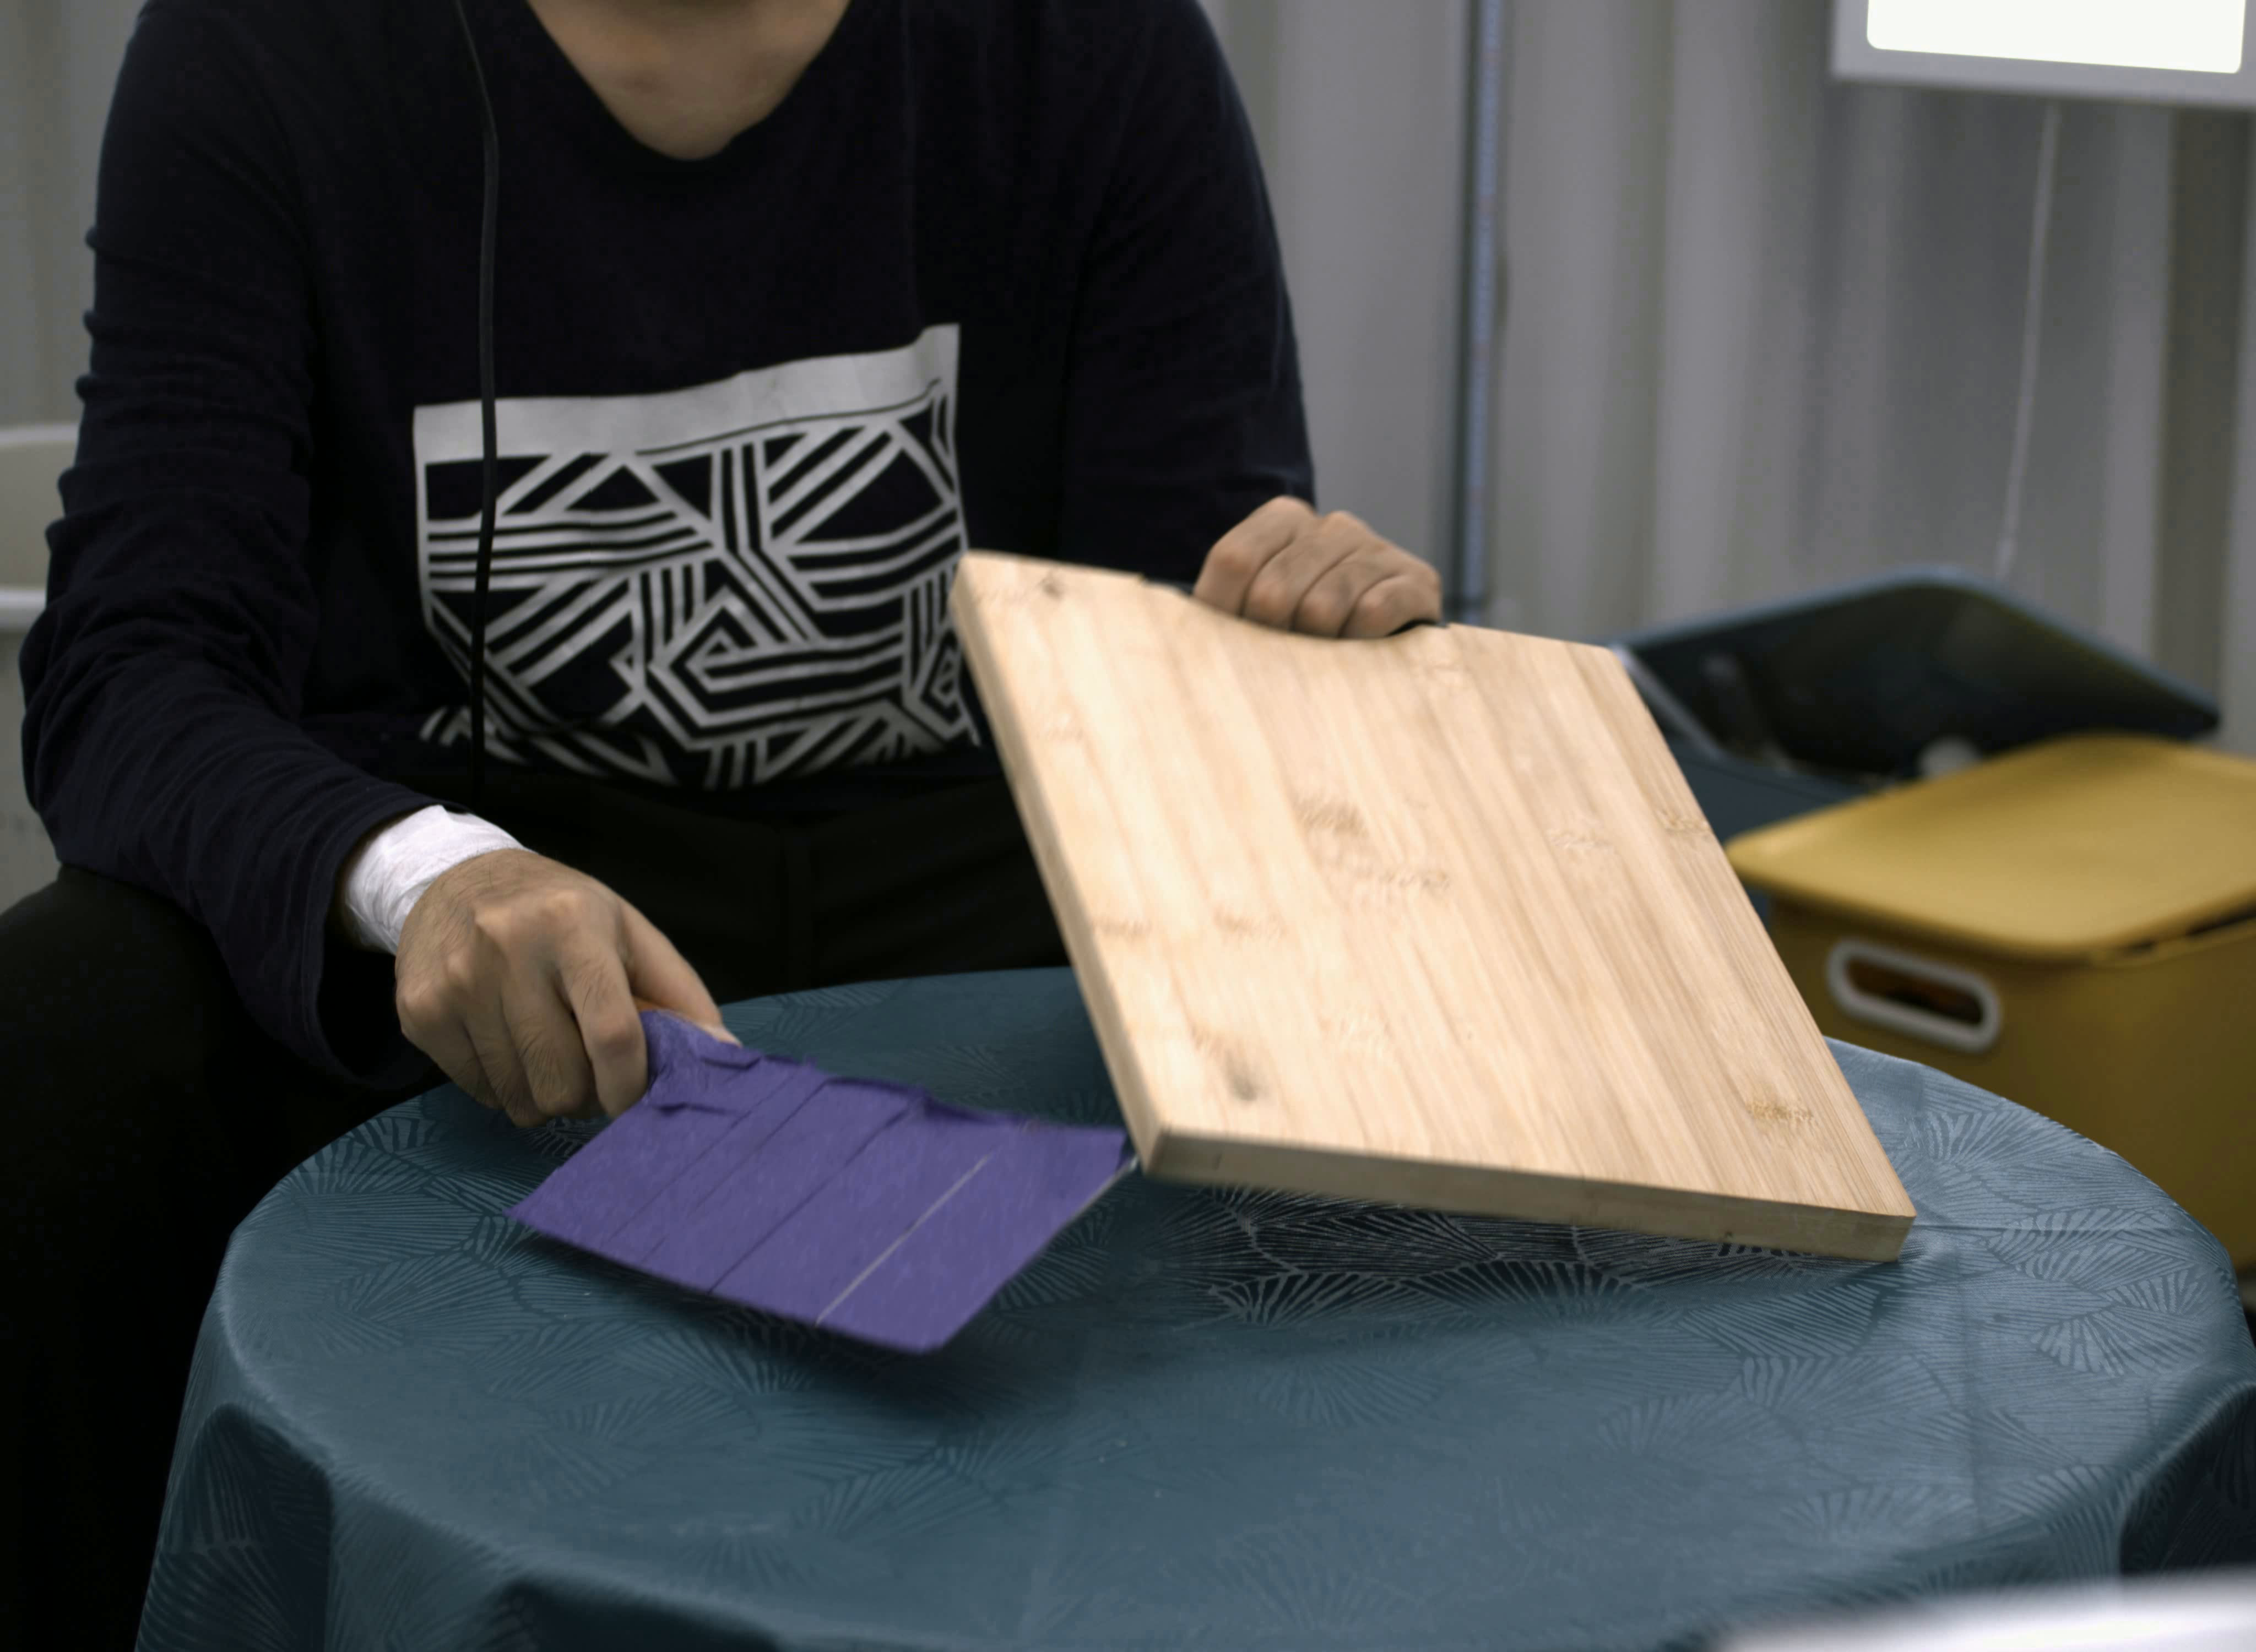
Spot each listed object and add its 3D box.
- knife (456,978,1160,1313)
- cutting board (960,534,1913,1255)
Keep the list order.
[{"bbox_3d":[-0.124,0.091,1.552,0.104,0.032,0.311,-40,28,-30],"label":"knife"},{"bbox_3d":[0.088,0.015,1.672,0.252,0.024,0.344,9,29,-19],"label":"cutting board"}]
